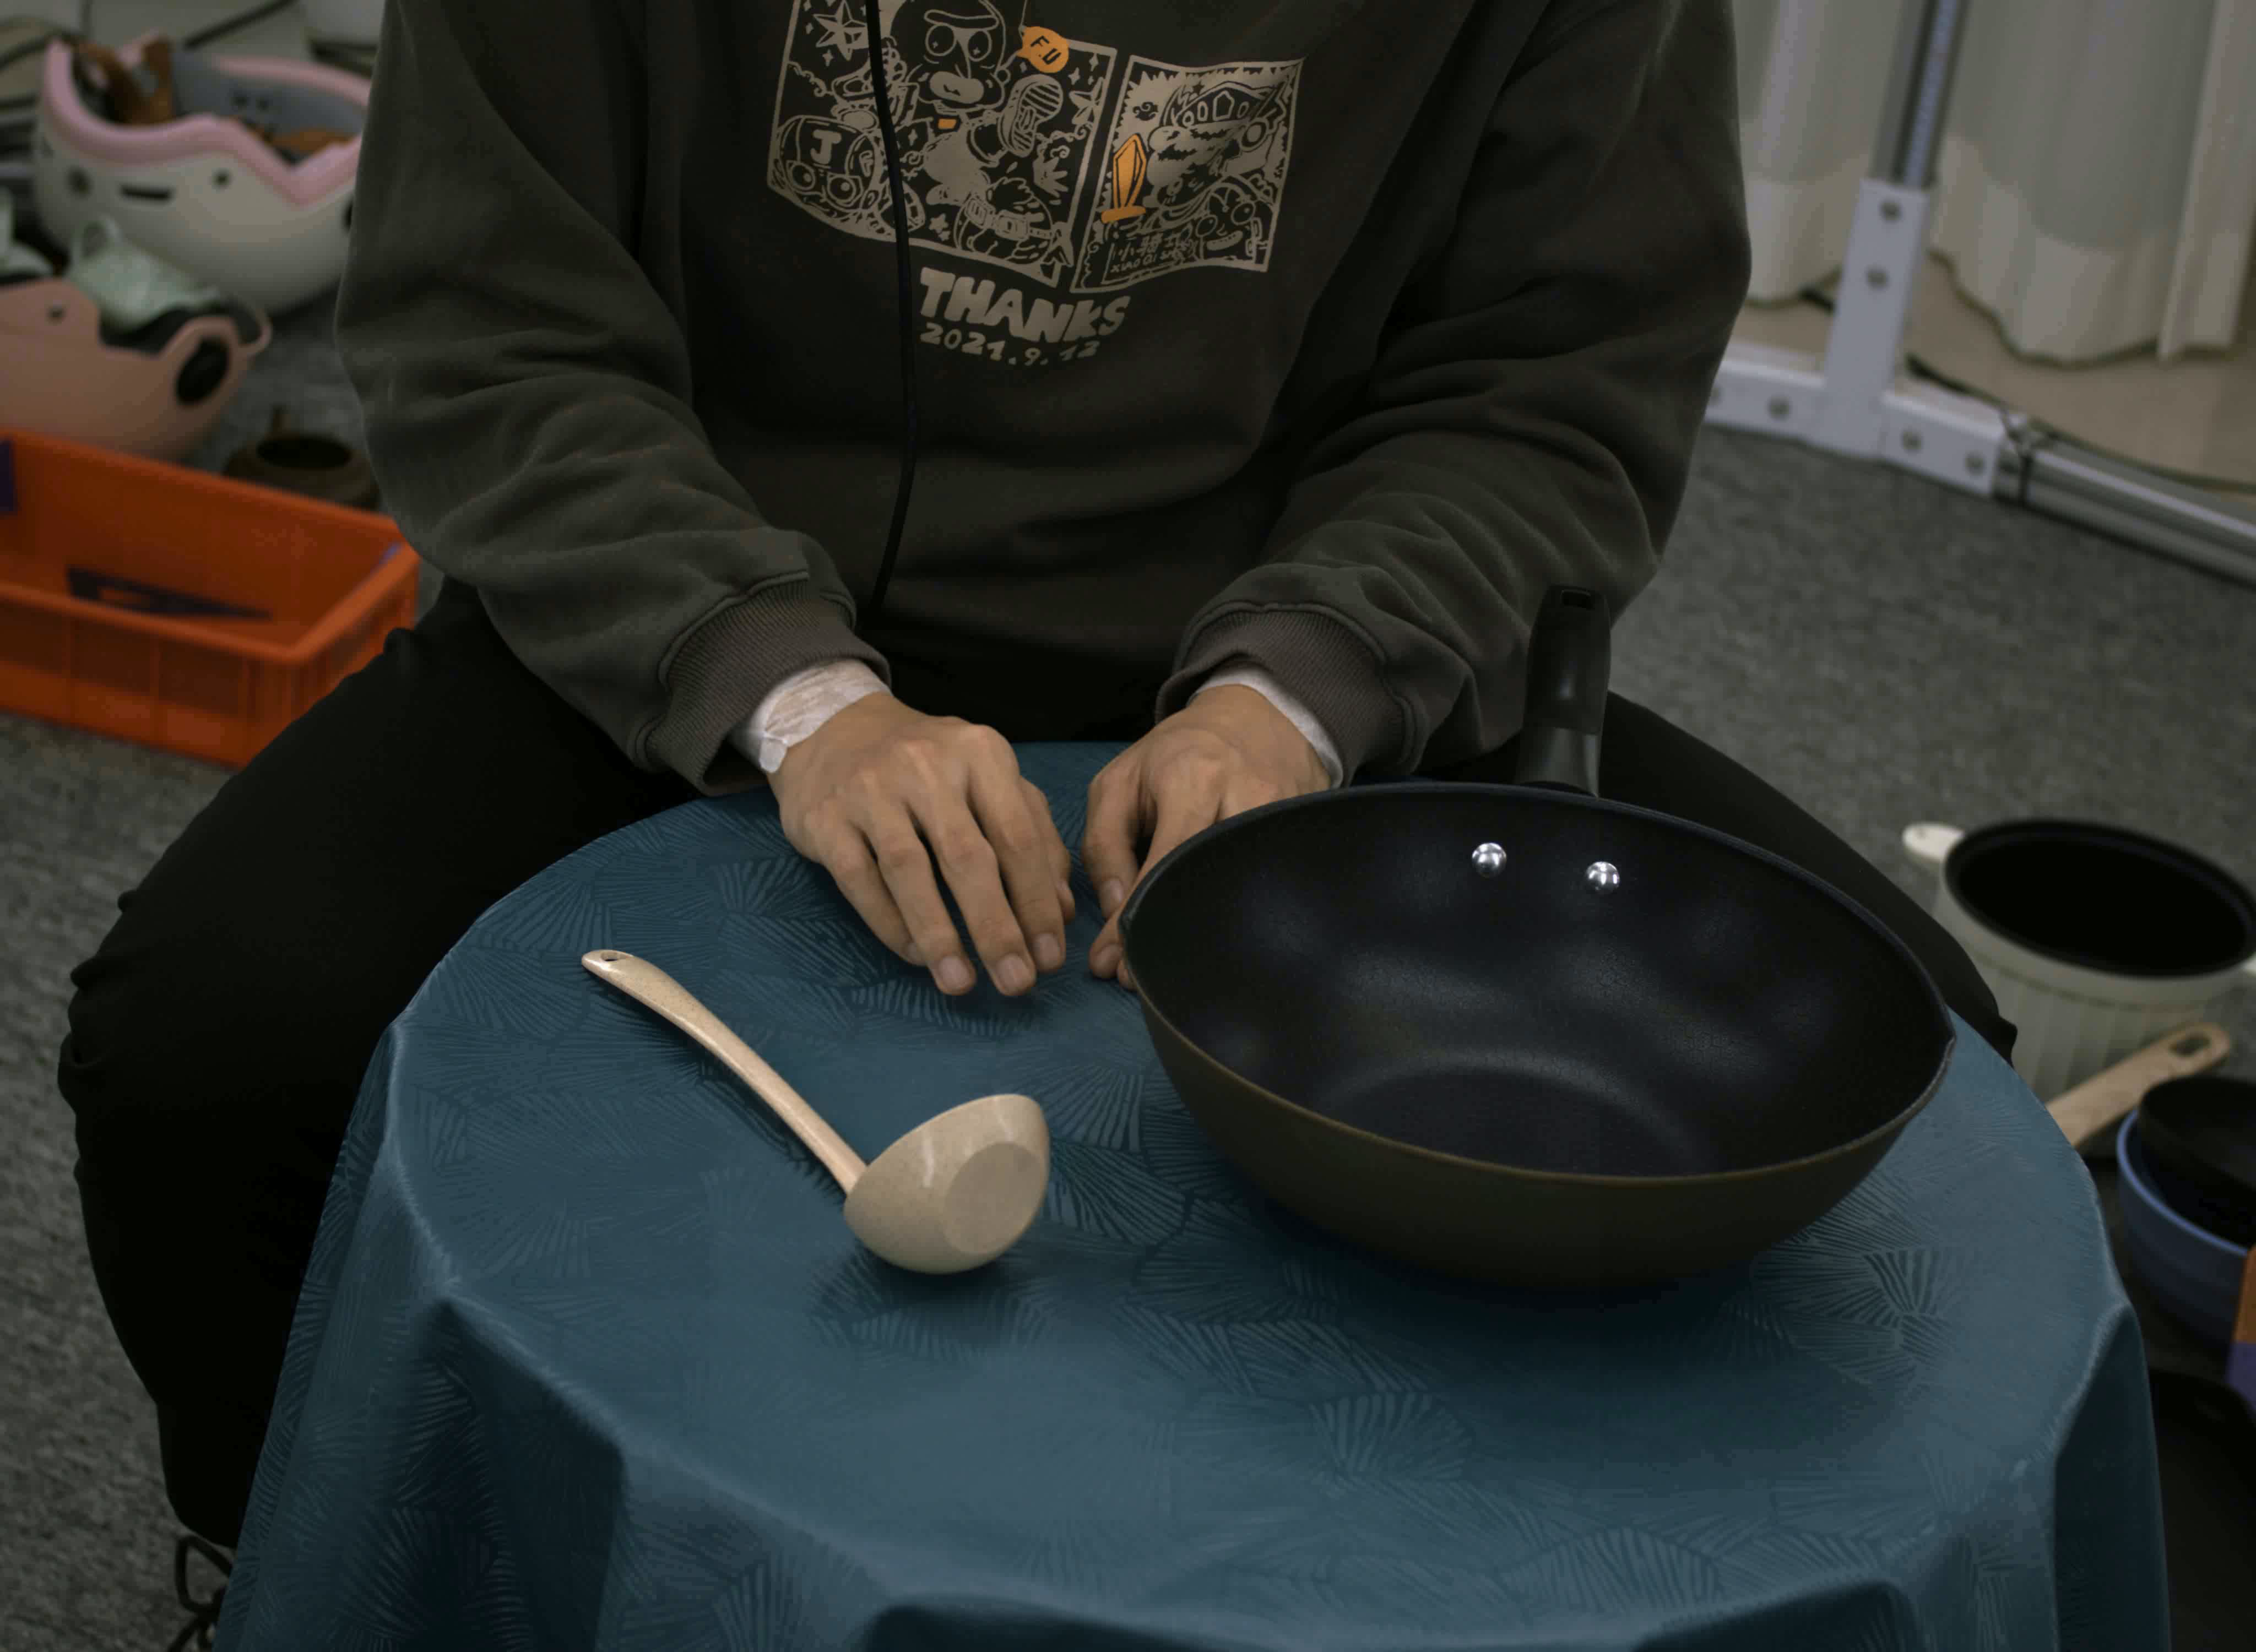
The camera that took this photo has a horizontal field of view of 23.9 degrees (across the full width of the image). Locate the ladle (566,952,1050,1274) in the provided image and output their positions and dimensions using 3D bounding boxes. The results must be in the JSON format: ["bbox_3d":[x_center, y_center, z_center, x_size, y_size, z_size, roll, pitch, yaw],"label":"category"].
[{"bbox_3d":[-0.119,0.070,1.802,0.072,0.072,0.256,-19,36,-32],"label":"ladle"}]

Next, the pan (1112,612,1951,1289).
[{"bbox_3d":[0.144,0.044,1.903,0.287,0.086,0.465,8,25,4],"label":"pan"}]
